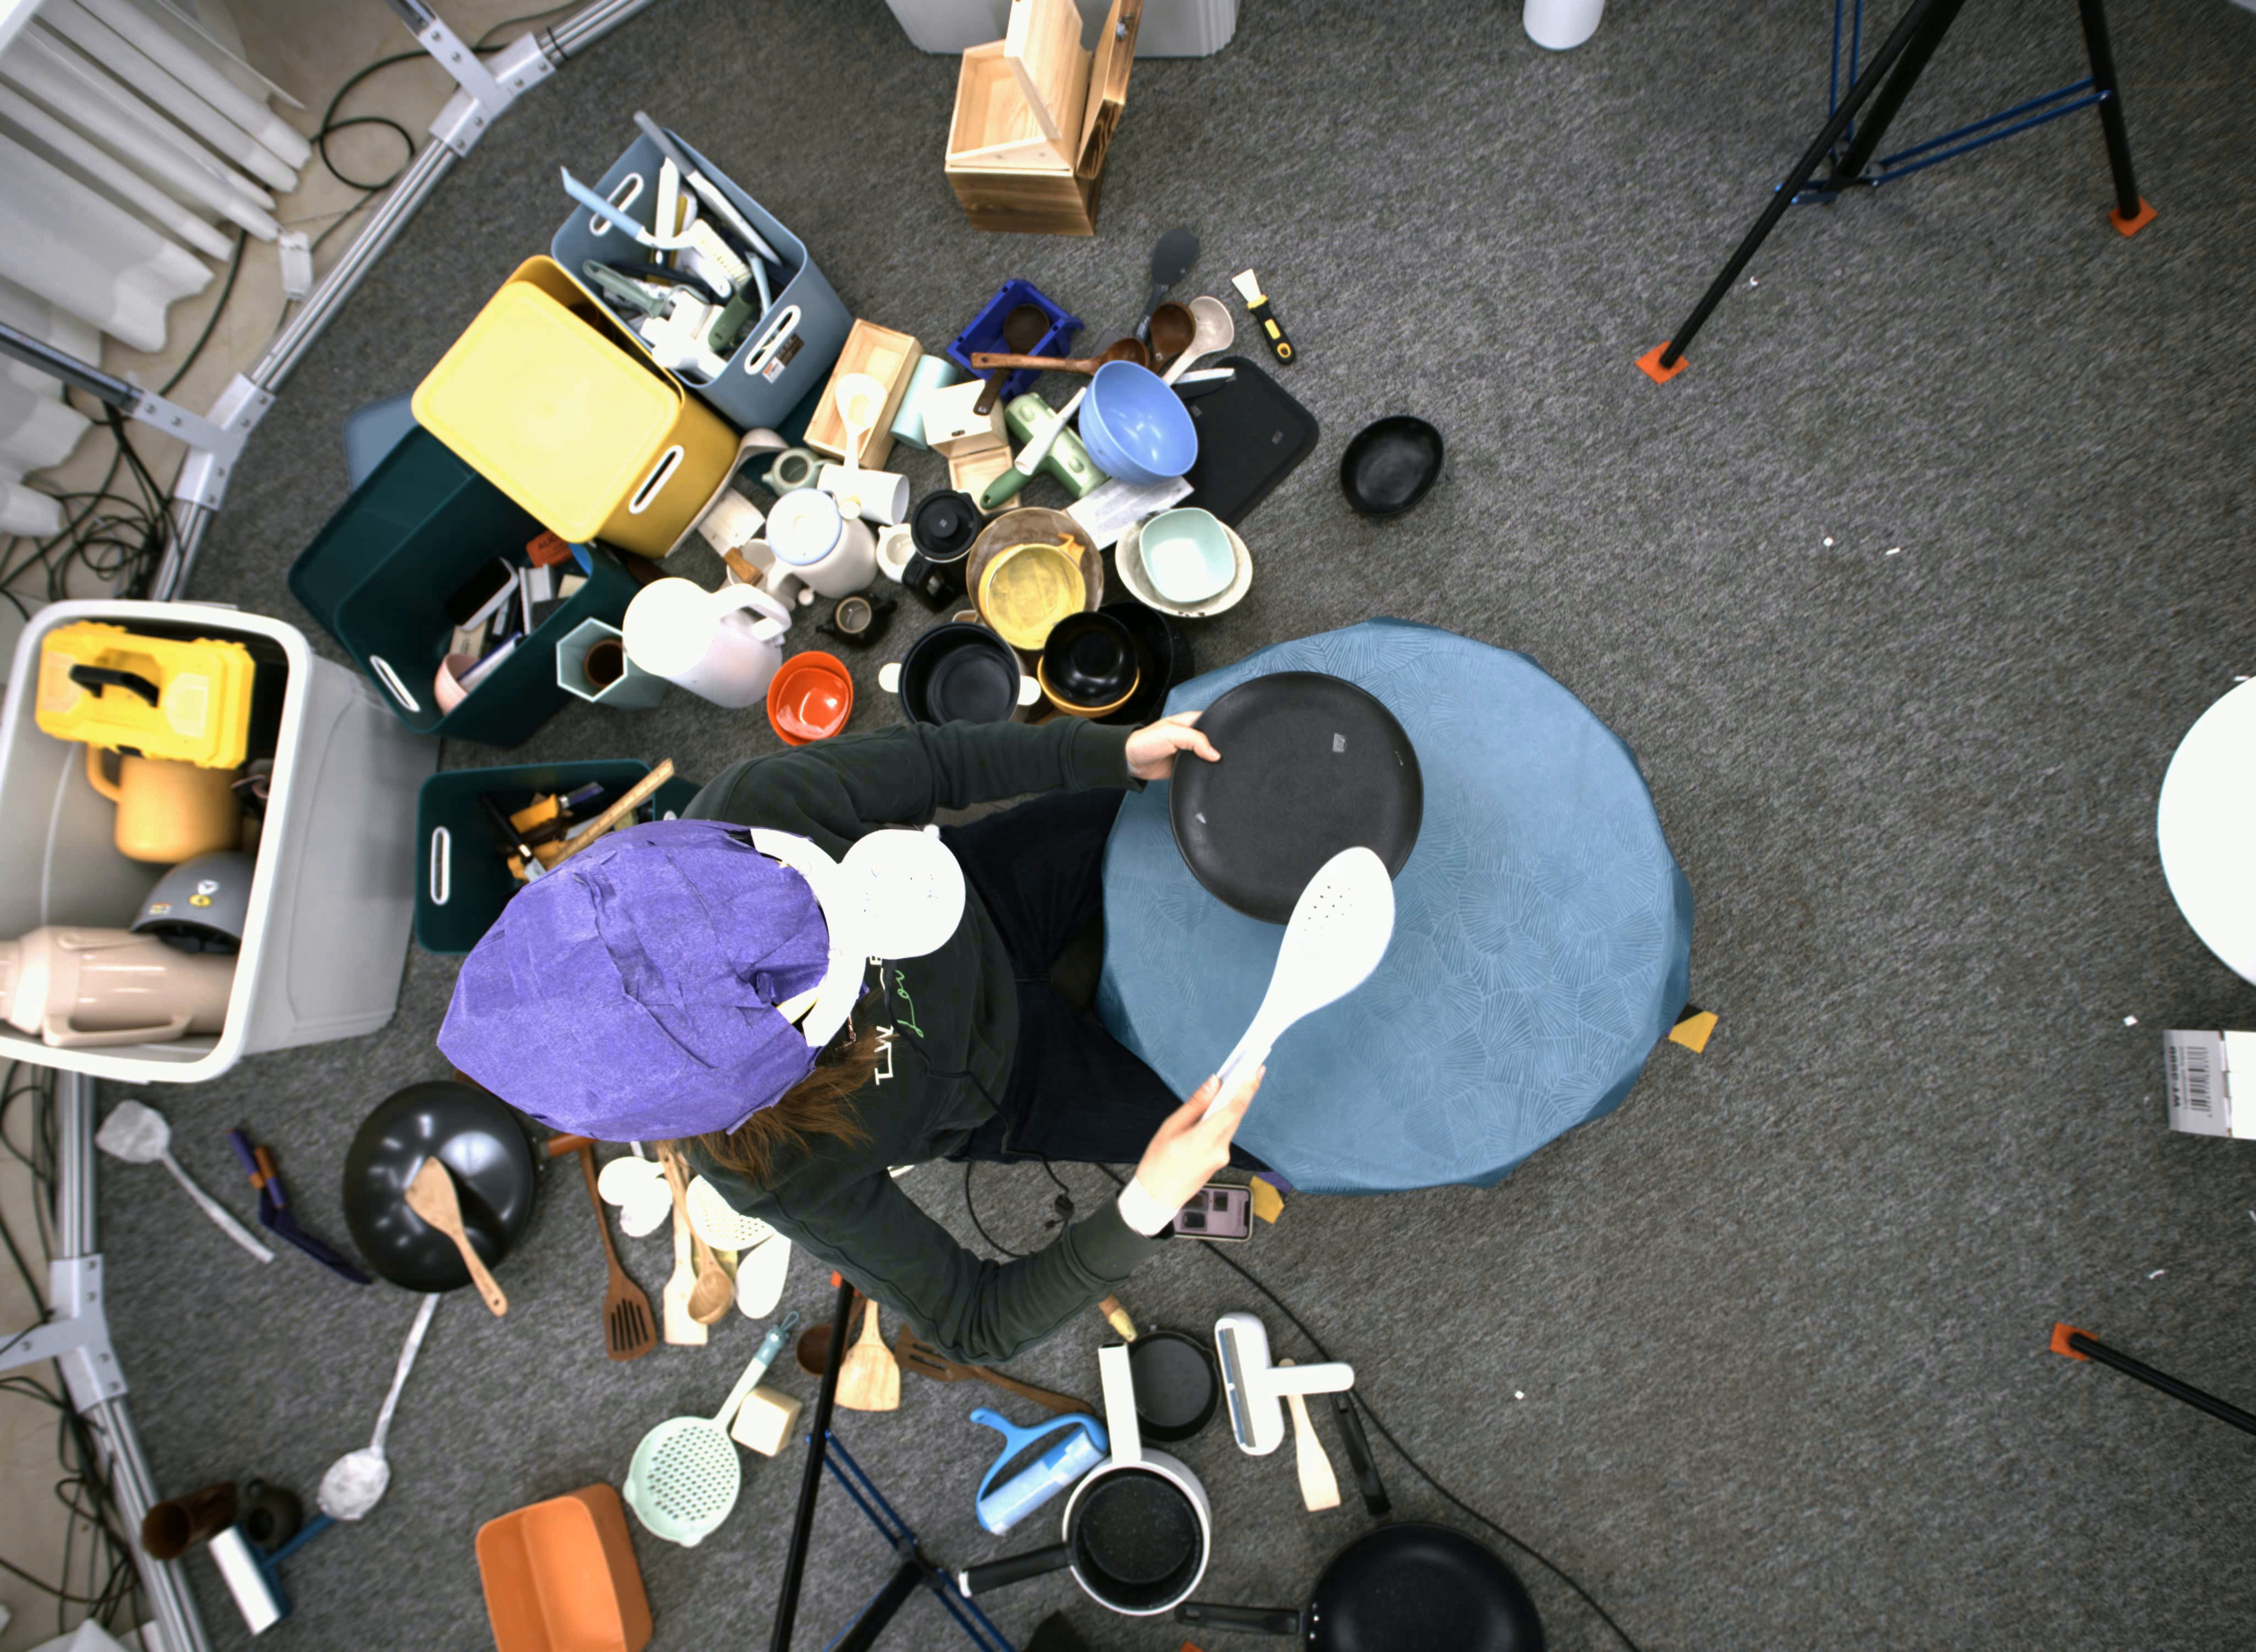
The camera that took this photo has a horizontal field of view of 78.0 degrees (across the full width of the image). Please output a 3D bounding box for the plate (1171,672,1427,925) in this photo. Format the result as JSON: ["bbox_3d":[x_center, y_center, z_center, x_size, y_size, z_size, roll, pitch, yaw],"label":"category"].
[{"bbox_3d":[0.163,-0.027,1.324,0.245,0.023,0.243,-1,88,13],"label":"plate"}]

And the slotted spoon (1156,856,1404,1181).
[{"bbox_3d":[0.126,0.175,1.195,0.046,0.133,0.354,29,109,-27],"label":"slotted spoon"}]
